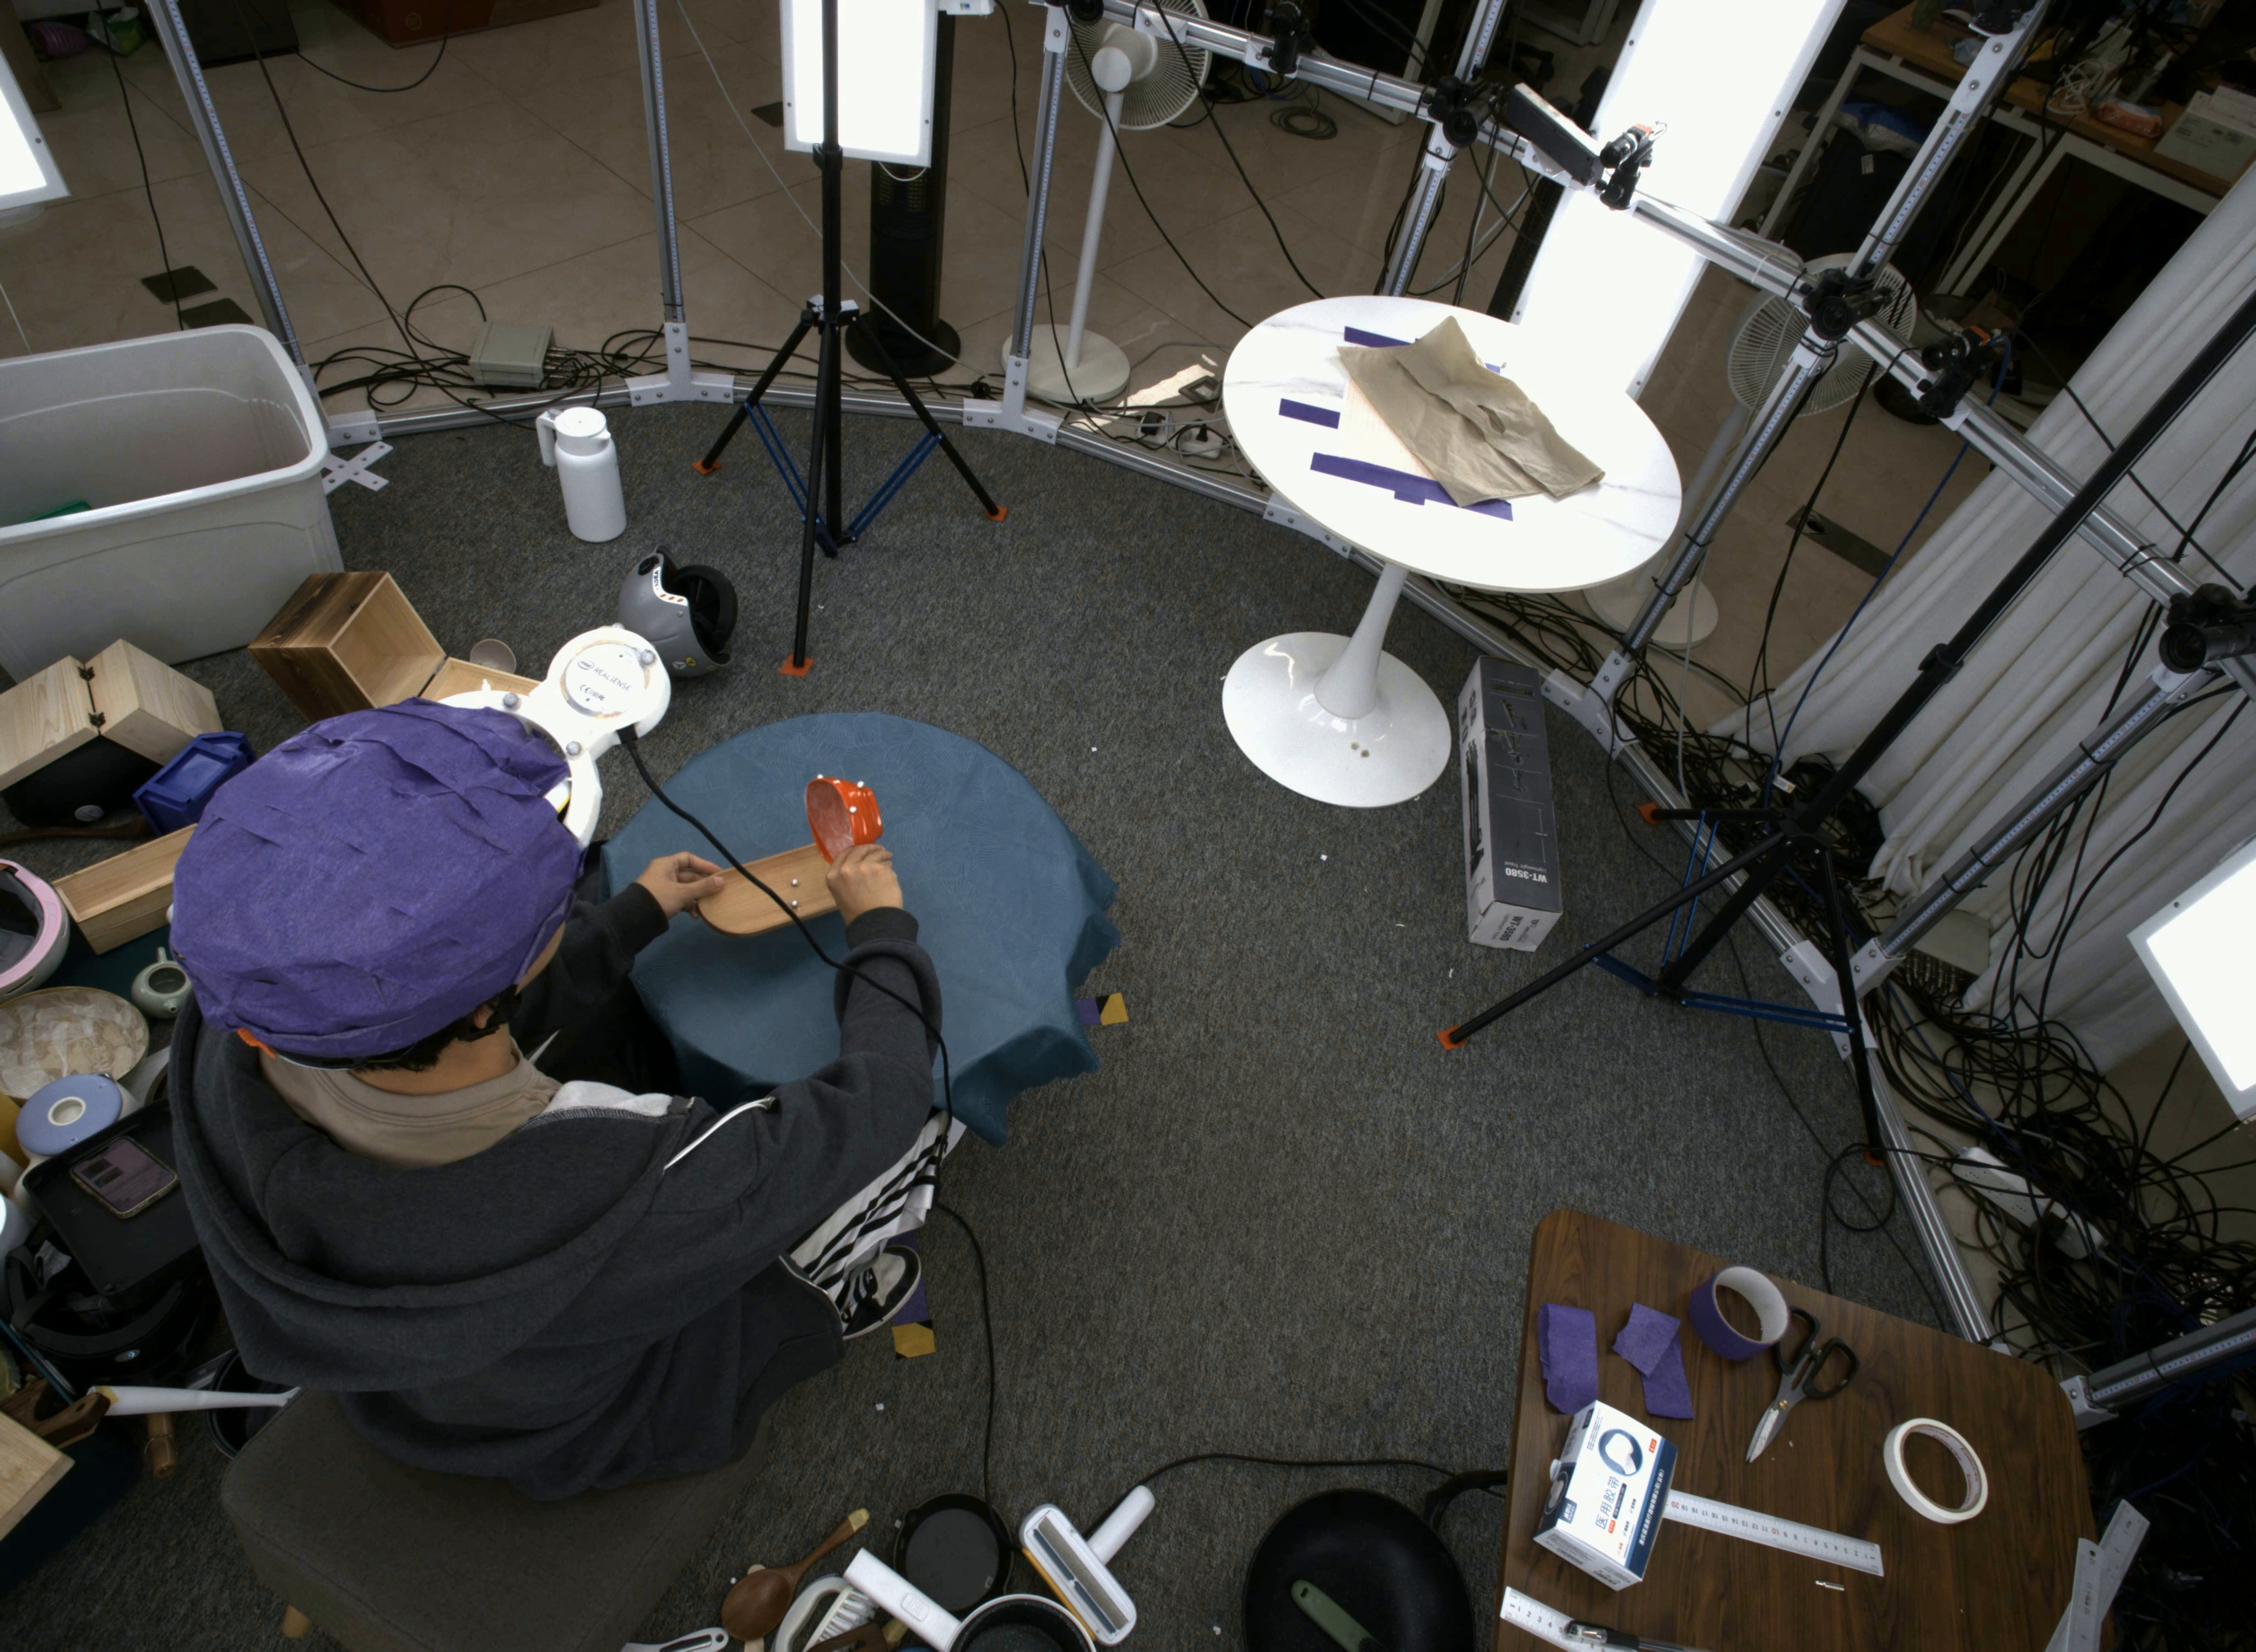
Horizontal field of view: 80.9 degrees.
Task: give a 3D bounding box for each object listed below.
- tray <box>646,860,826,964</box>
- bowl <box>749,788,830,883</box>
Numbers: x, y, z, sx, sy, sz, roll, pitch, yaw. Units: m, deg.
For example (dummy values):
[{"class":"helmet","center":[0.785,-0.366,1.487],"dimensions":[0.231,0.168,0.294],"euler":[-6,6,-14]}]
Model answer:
[{"class":"tray","center":[-0.472,0.099,1.563],"dimensions":[0.233,0.020,0.099],"euler":[-24,61,-40]},{"class":"bowl","center":[-0.388,0.004,1.504],"dimensions":[0.052,0.121,0.116],"euler":[-24,60,-41]}]
